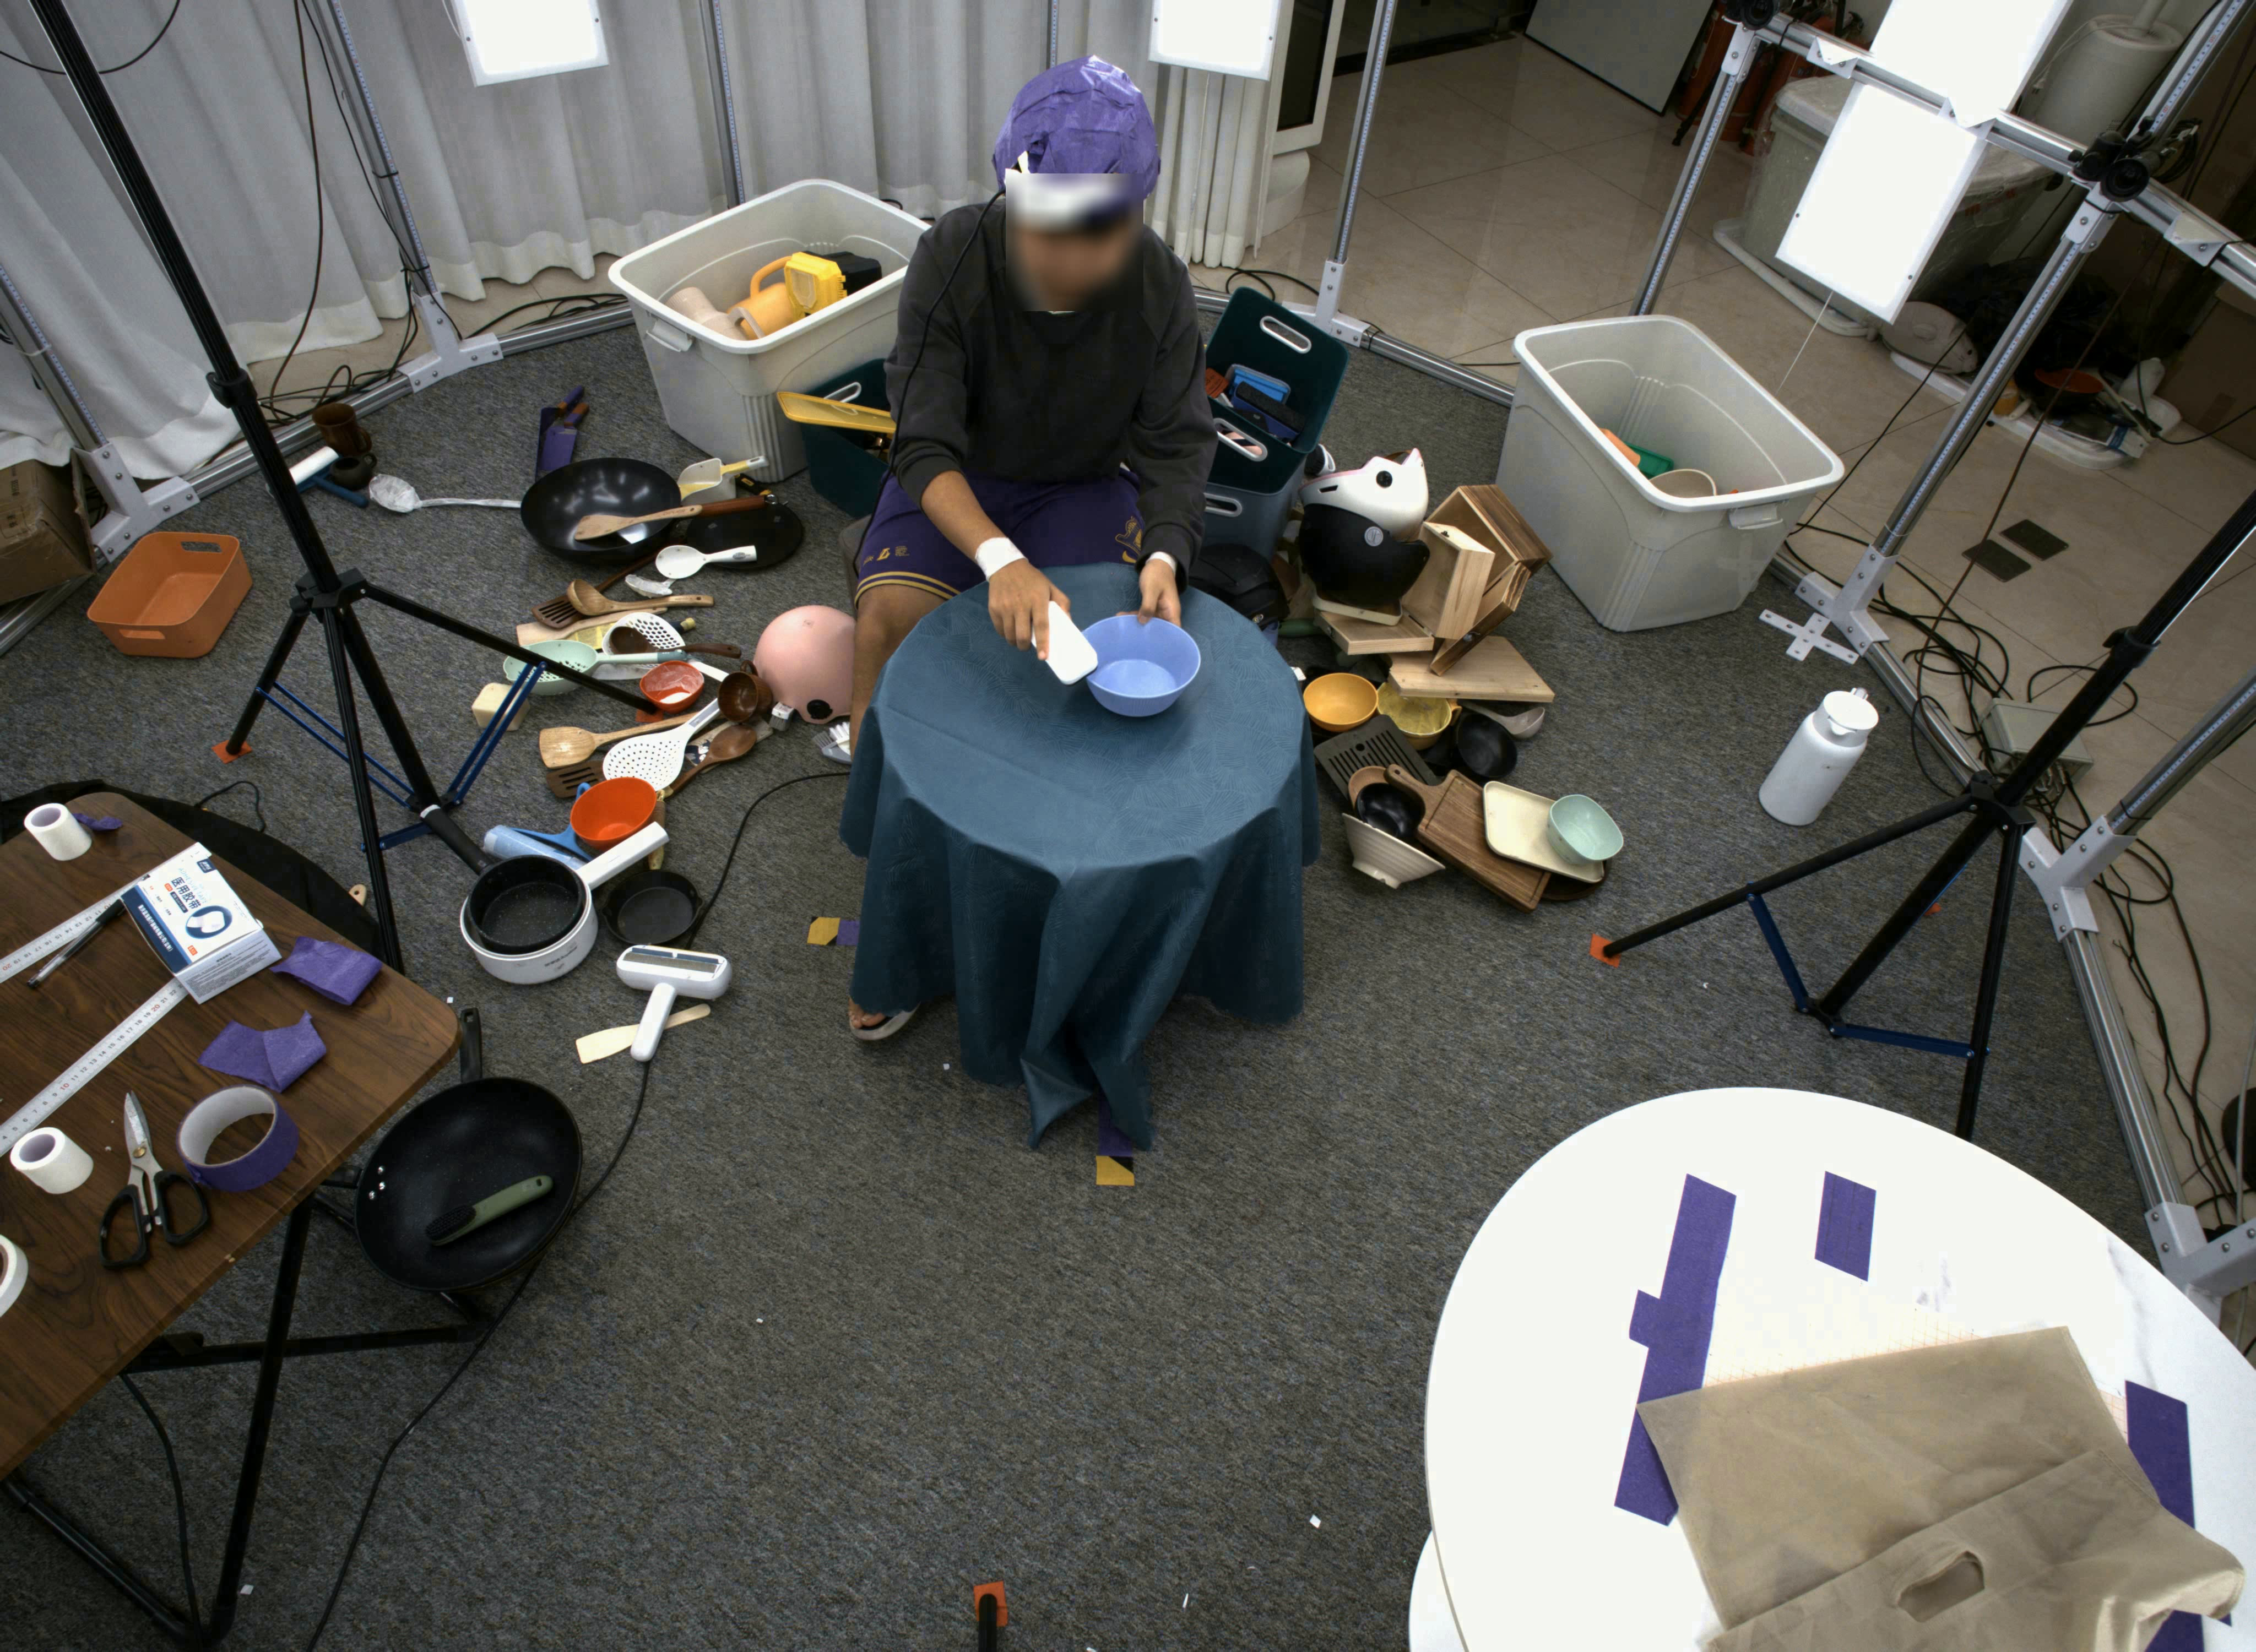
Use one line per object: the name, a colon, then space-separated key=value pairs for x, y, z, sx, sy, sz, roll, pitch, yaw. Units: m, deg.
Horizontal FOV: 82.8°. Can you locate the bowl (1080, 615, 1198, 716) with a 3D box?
bowl: x=0.007 y=-0.217 z=1.800 sx=0.176 sy=0.068 sz=0.180 roll=3 pitch=47 yaw=-3

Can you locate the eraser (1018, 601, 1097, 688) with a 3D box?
eraser: x=-0.094 y=-0.250 z=1.753 sx=0.063 sy=0.034 sz=0.134 roll=-32 pitch=63 yaw=-6
